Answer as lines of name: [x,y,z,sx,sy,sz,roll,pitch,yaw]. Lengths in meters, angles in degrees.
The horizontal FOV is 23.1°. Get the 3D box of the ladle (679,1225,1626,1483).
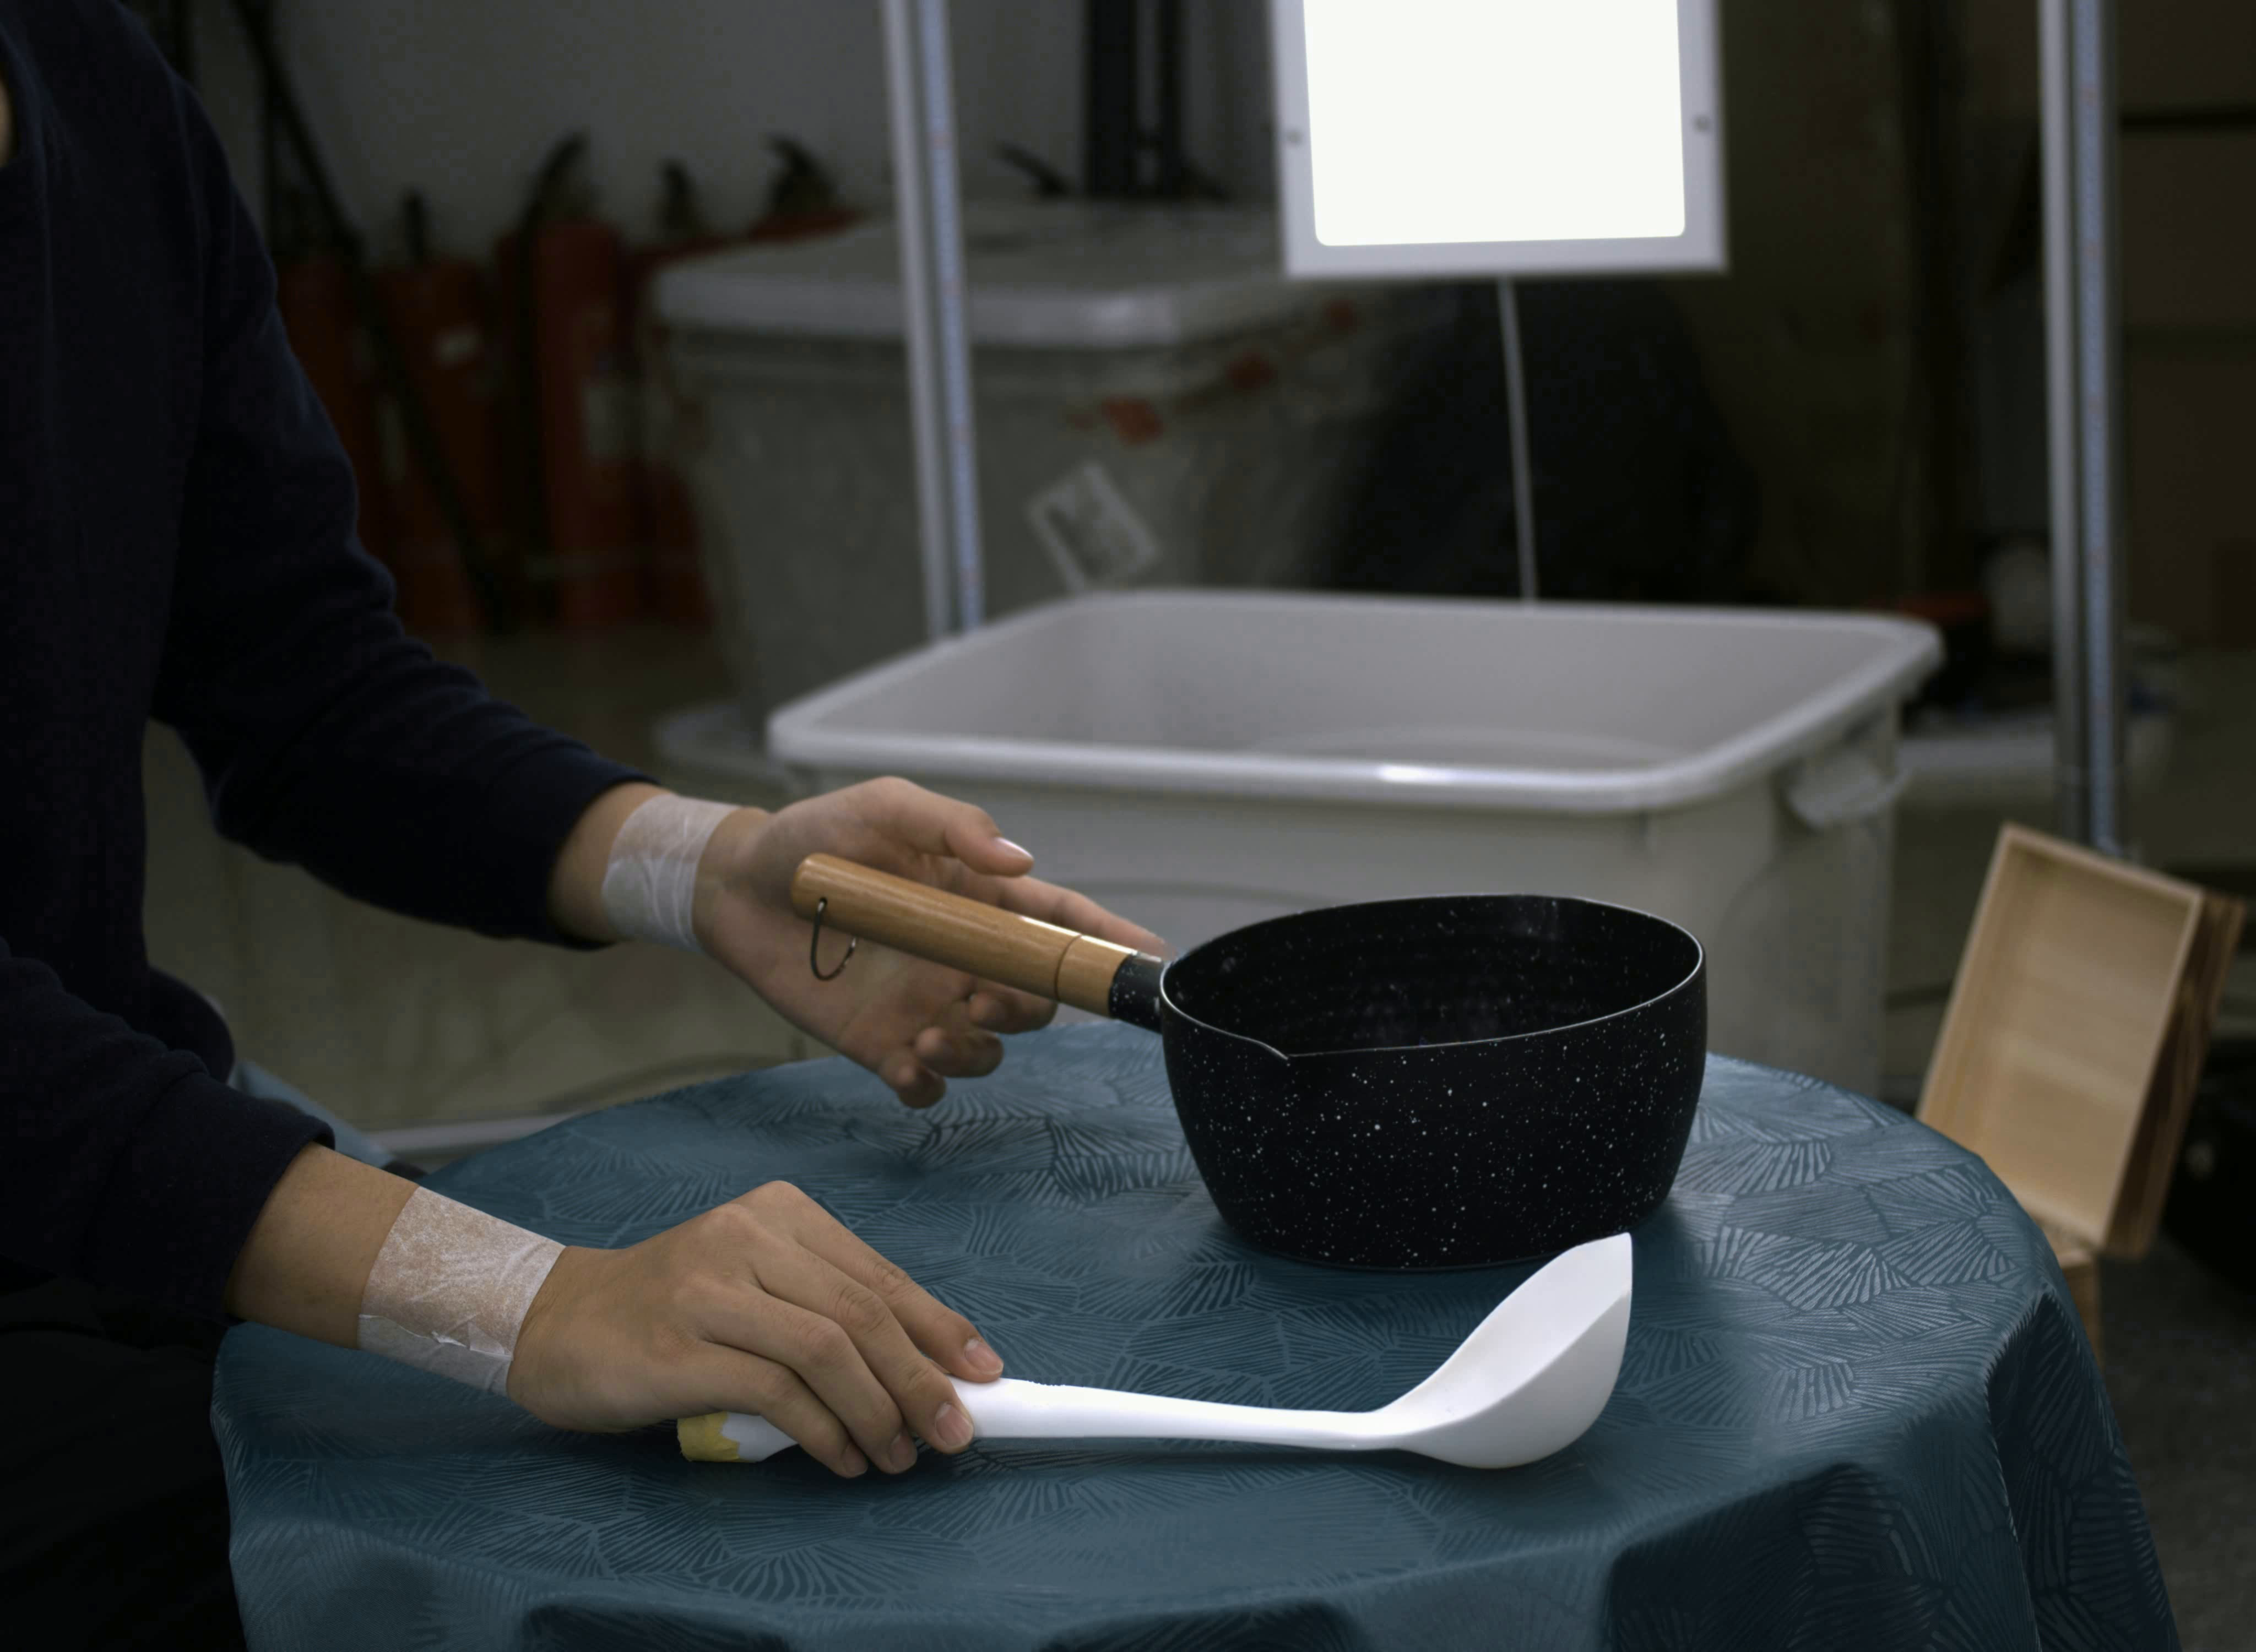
ladle: [0.006,0.161,1.626,0.296,0.070,0.089,-2,27,16]

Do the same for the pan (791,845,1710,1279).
pan: [0.034,0.072,1.881,0.349,0.108,0.203,4,17,29]
